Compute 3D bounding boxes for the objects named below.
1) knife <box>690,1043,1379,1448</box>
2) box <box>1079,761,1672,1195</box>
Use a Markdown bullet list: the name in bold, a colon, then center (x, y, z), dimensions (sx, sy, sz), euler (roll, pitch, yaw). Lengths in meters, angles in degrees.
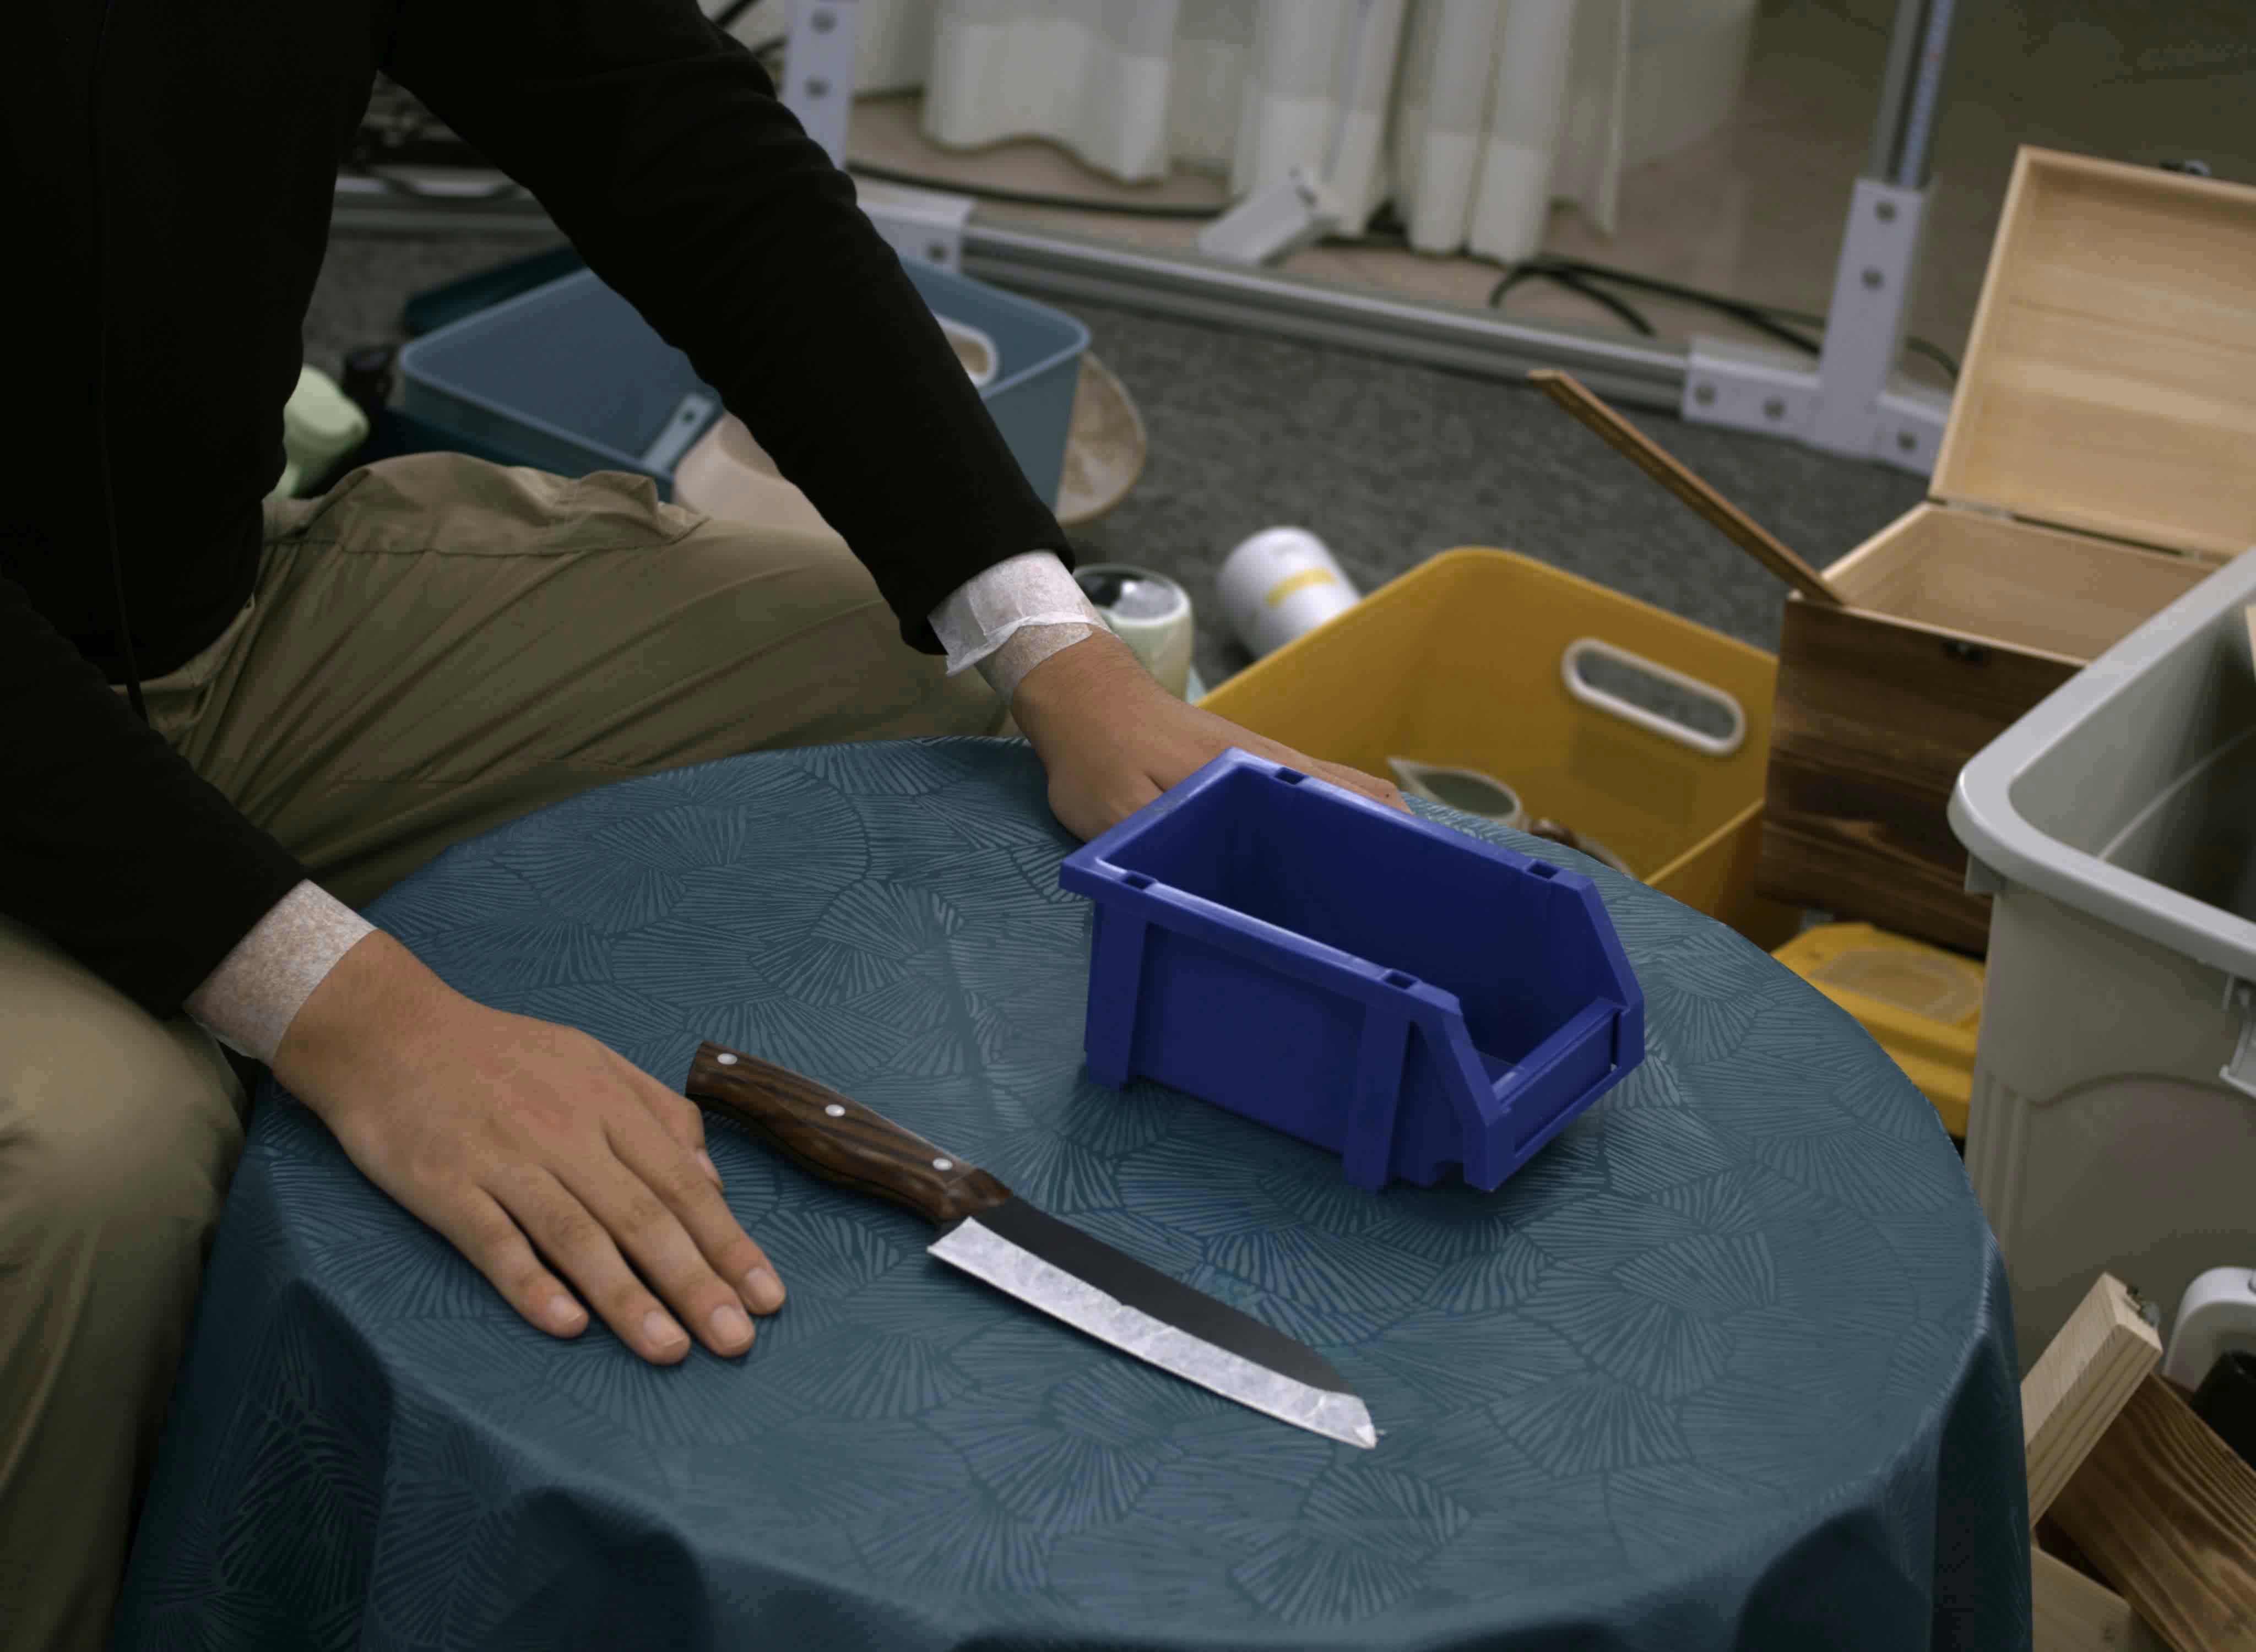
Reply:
- **knife**: center (-0.035, 0.138, 1.749), dimensions (0.291, 0.020, 0.050), euler (26, 38, 29)
- **box**: center (0.088, 0.057, 1.863), dimensions (0.180, 0.081, 0.124), euler (19, 29, 28)
